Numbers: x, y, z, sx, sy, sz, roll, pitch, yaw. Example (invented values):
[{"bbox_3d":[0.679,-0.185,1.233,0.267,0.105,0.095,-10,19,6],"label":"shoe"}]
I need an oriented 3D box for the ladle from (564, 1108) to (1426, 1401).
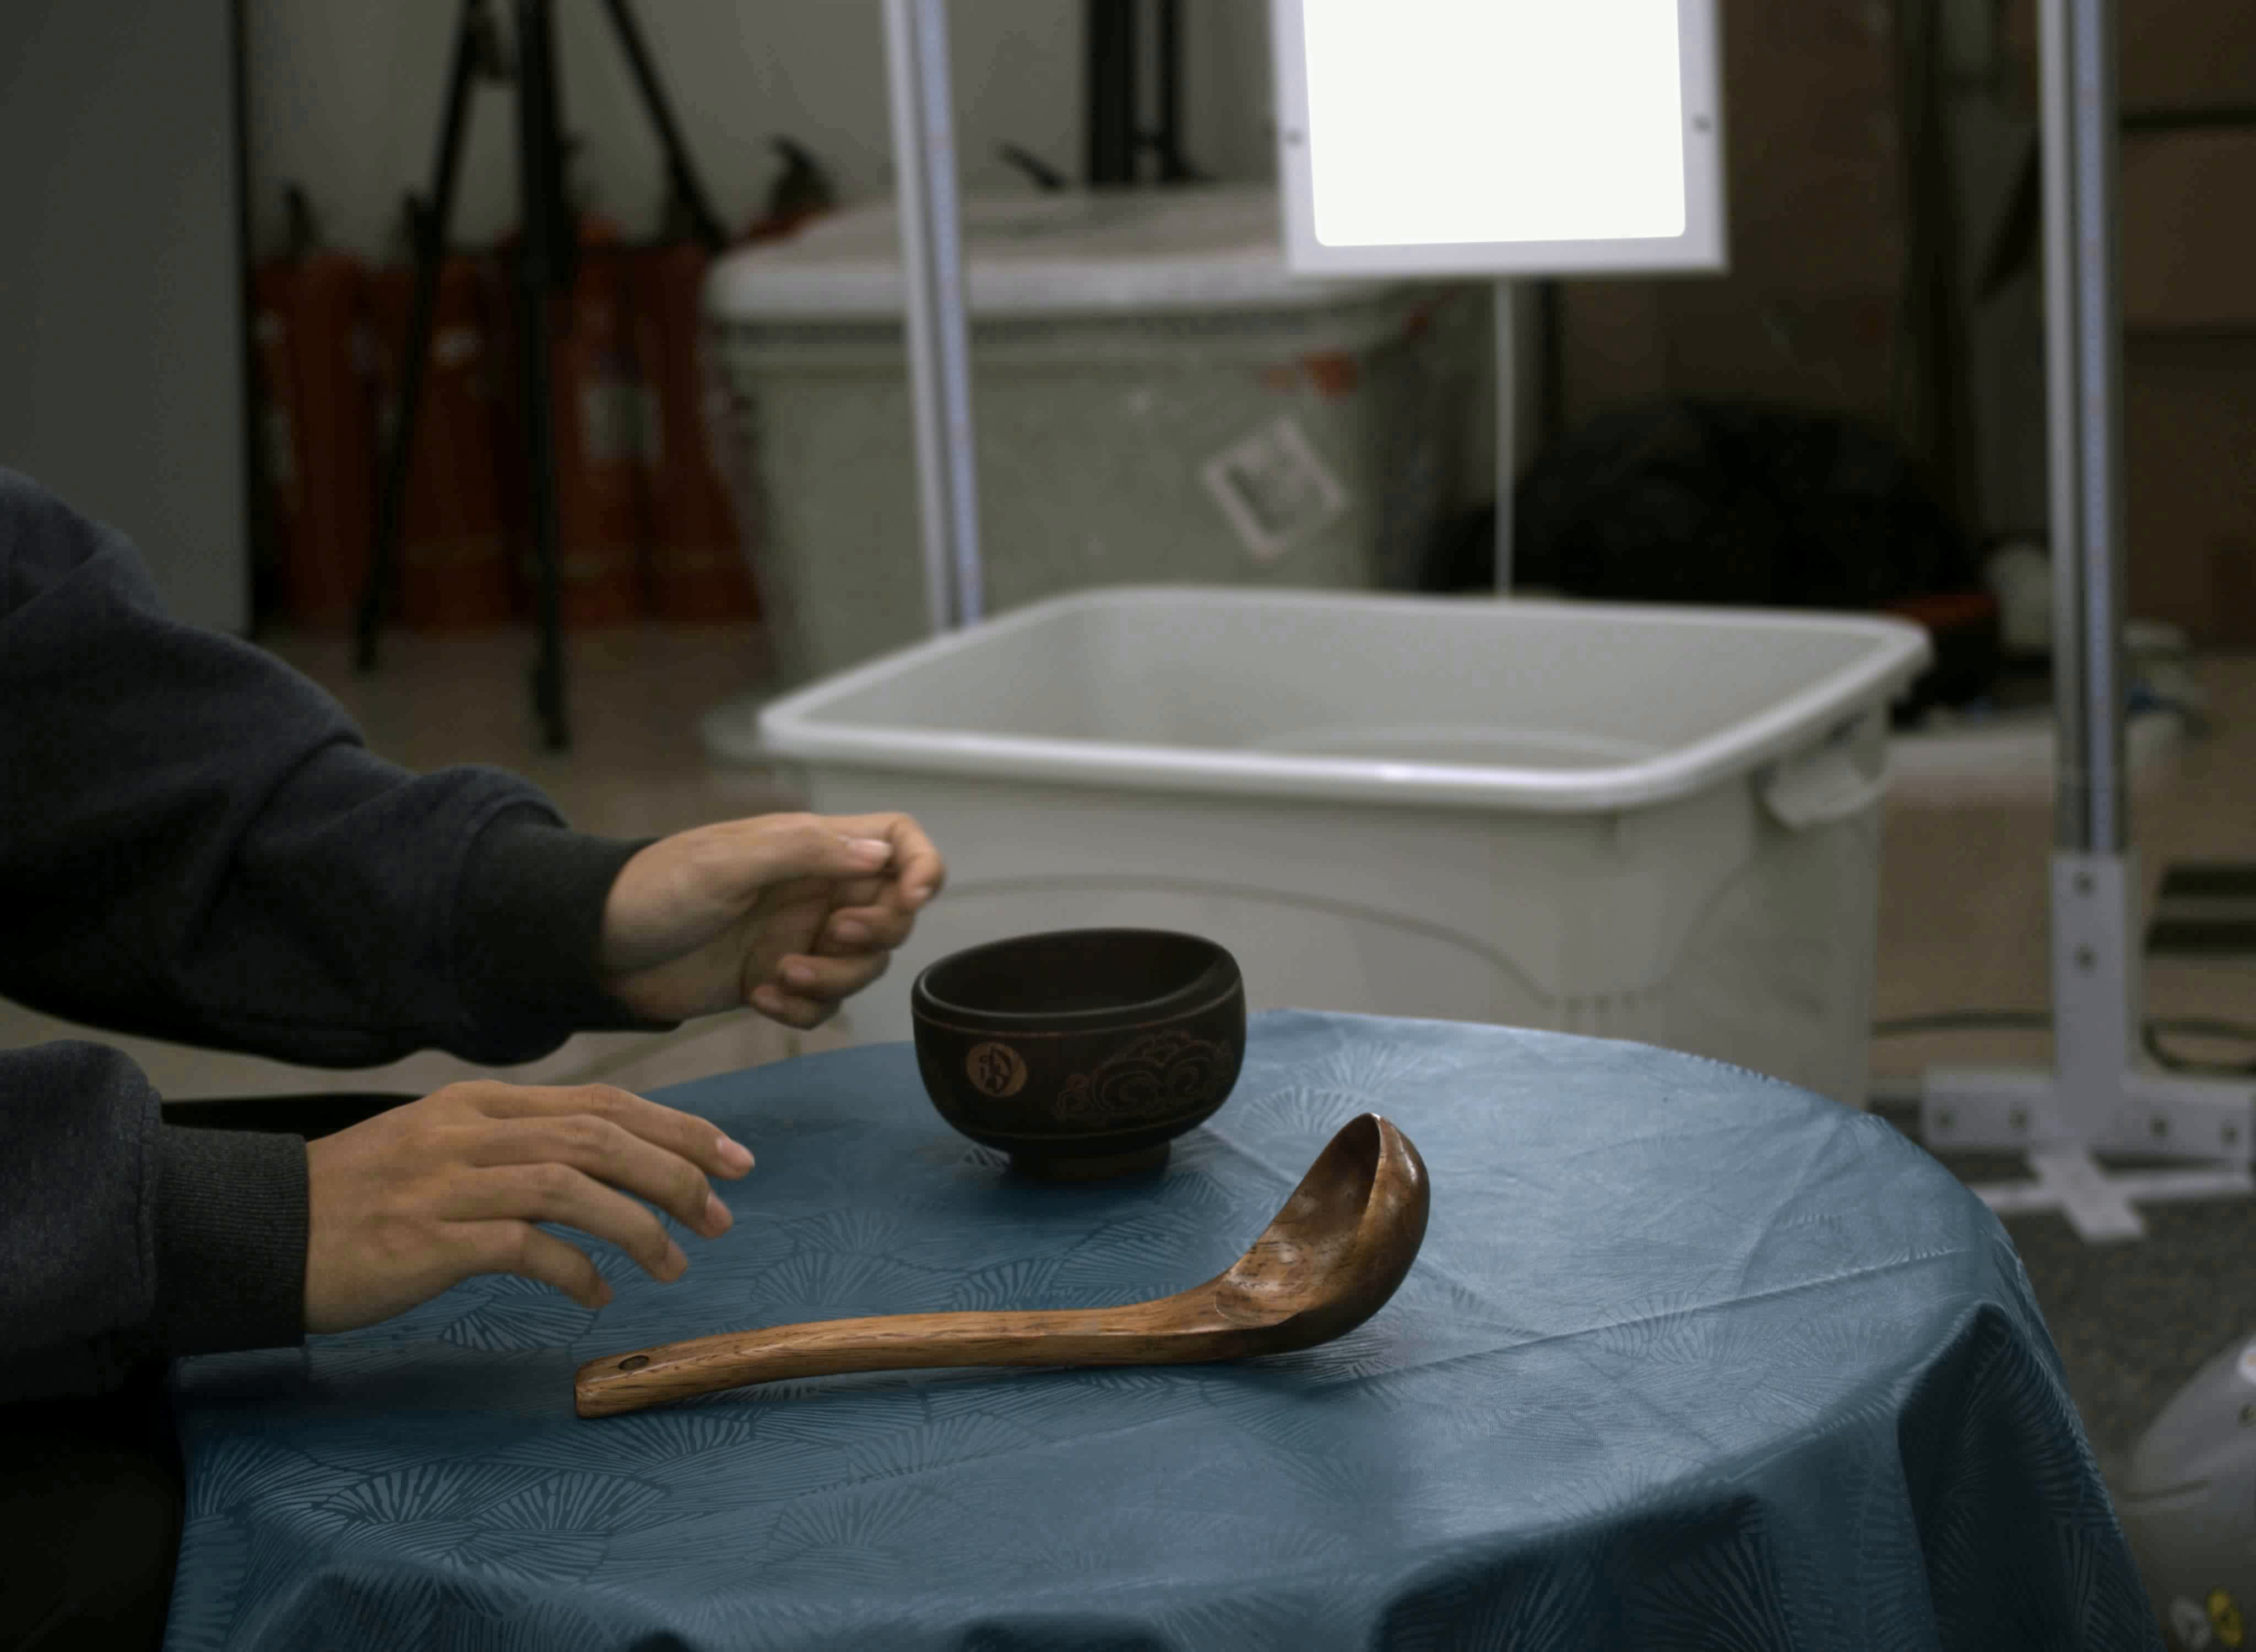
[{"bbox_3d":[-0.043,0.135,1.714,0.274,0.077,0.081,-4,19,3],"label":"ladle"}]

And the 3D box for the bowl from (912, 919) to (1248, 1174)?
[{"bbox_3d":[-0.015,0.081,1.932,0.118,0.070,0.118,-5,14,0],"label":"bowl"}]
